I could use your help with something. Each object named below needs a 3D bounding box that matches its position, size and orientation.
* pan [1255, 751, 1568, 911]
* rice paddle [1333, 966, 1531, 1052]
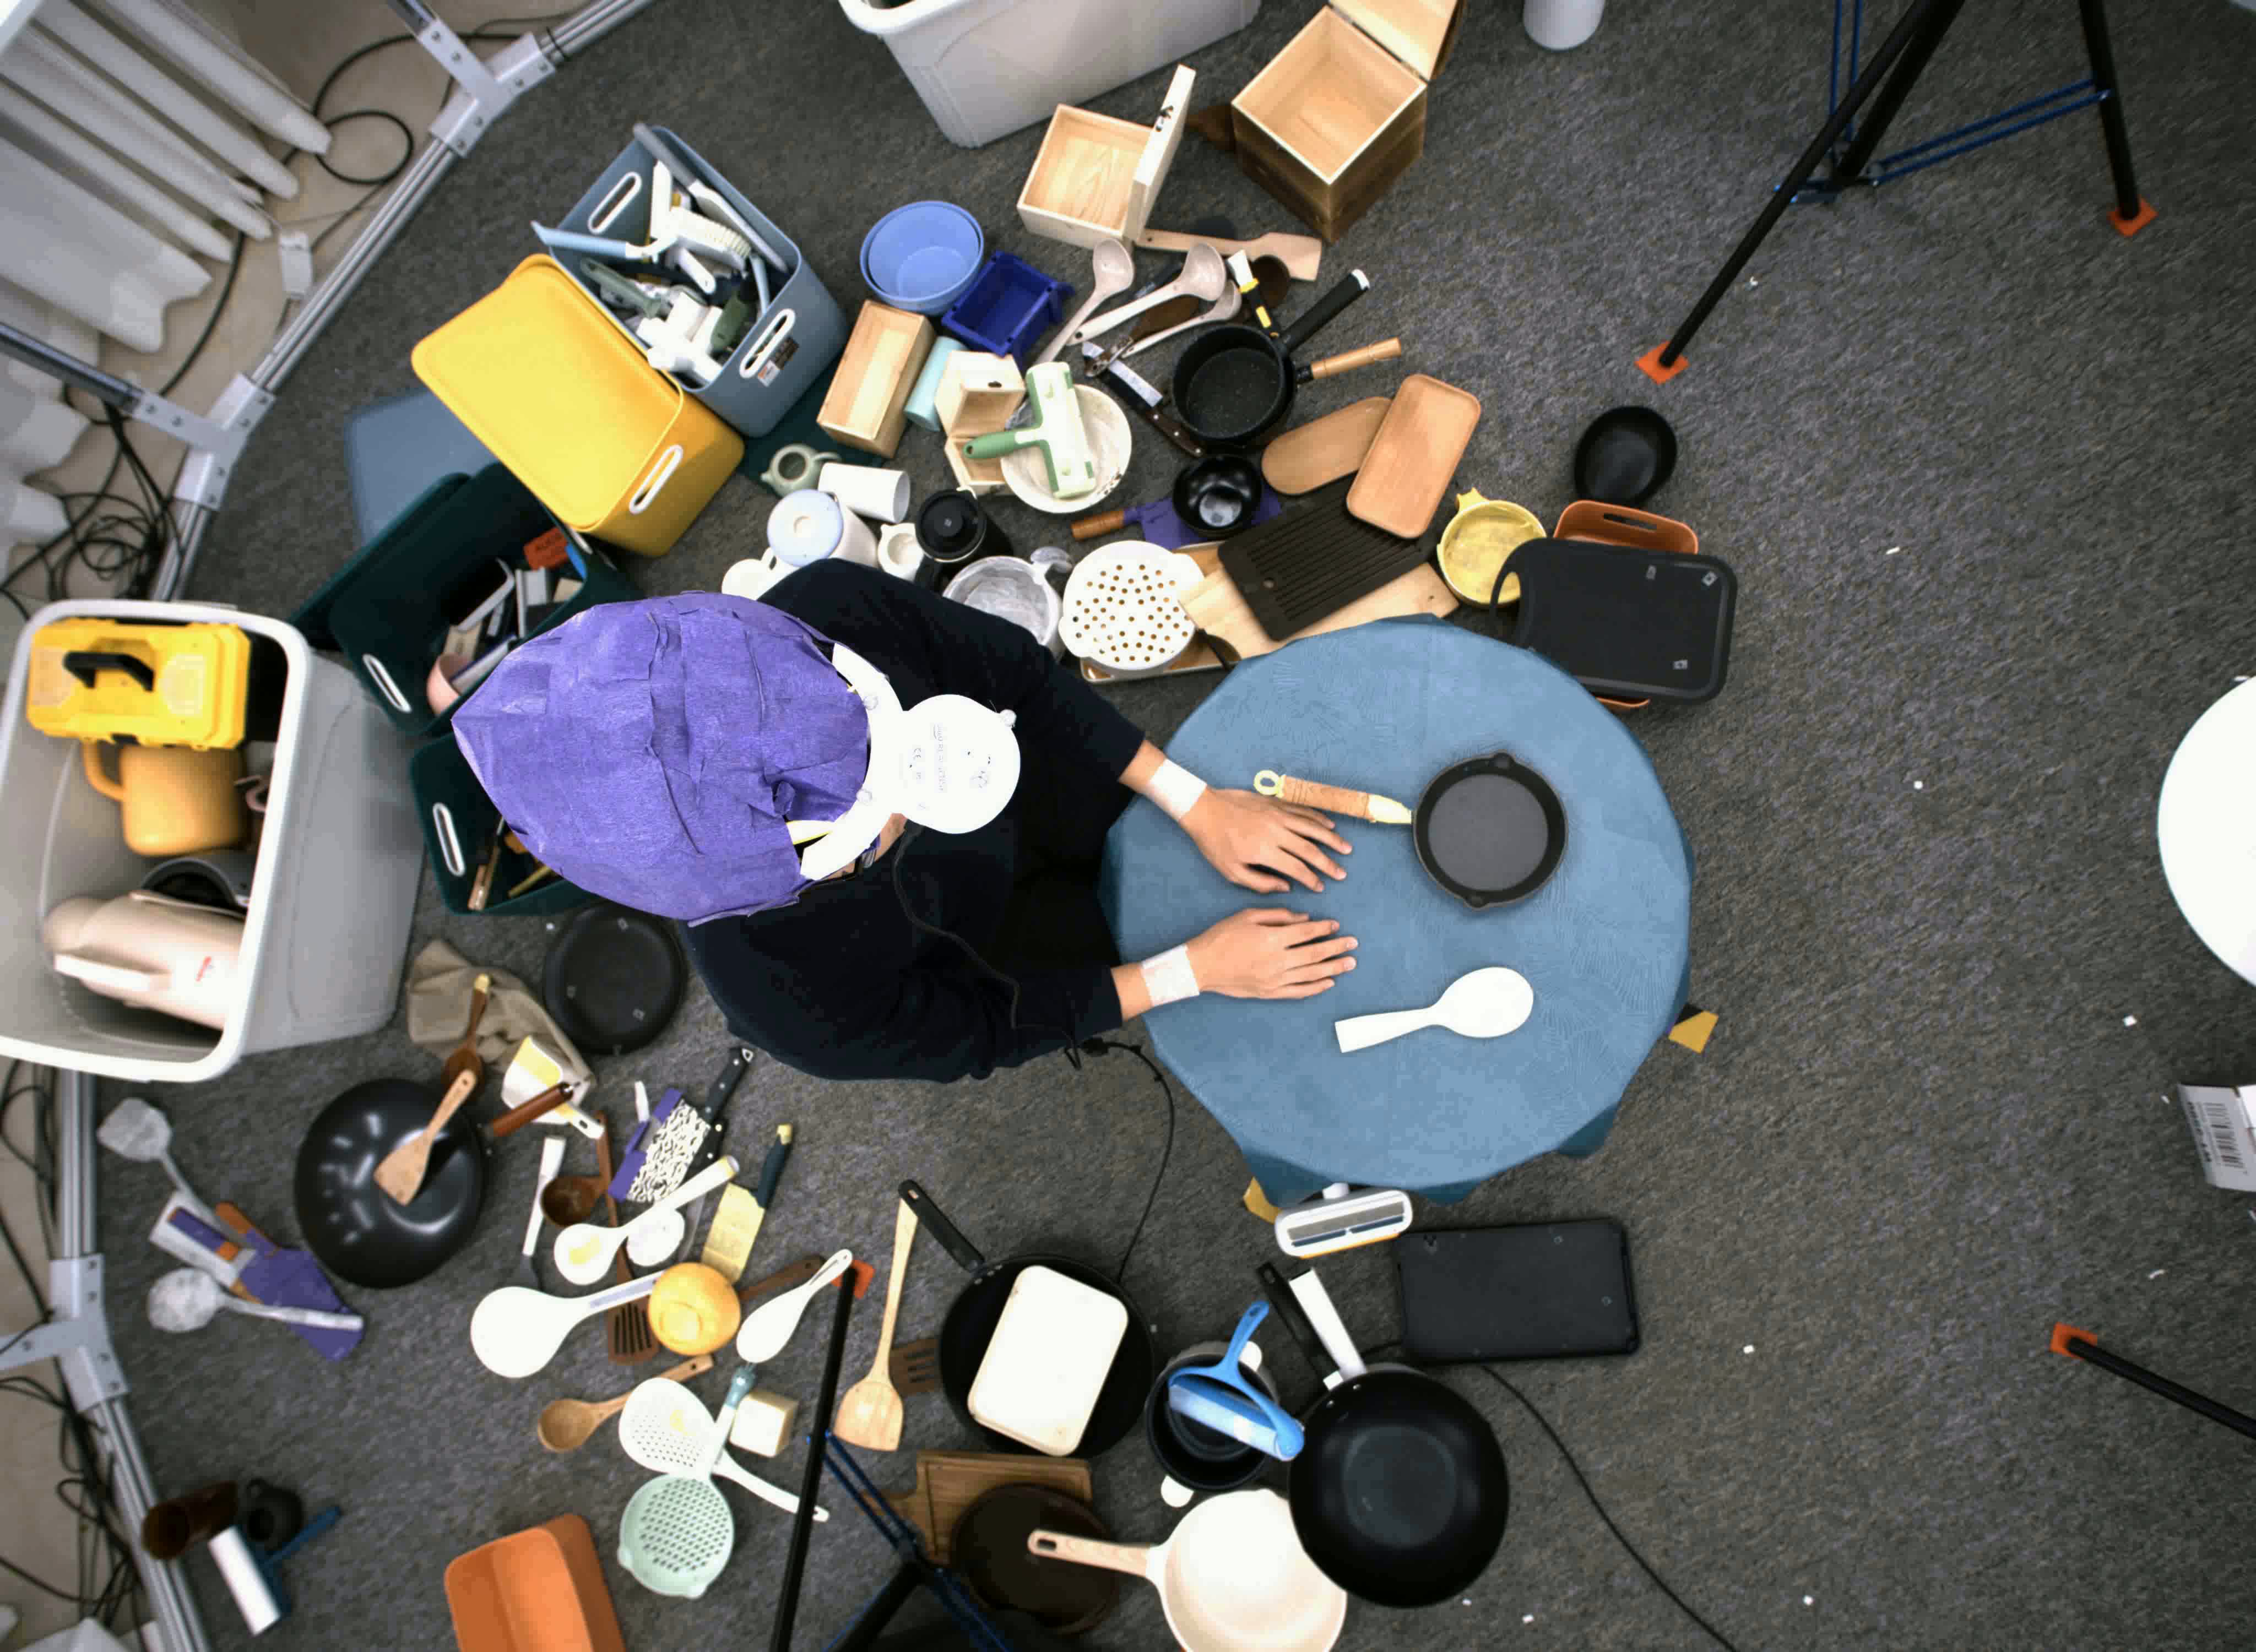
[{"bbox_3d":[0.292,-0.016,1.435,0.324,0.049,0.168,13,89,10],"label":"pan"},{"bbox_3d":[0.316,0.193,1.430,0.206,0.029,0.068,-15,86,10],"label":"rice paddle"}]
